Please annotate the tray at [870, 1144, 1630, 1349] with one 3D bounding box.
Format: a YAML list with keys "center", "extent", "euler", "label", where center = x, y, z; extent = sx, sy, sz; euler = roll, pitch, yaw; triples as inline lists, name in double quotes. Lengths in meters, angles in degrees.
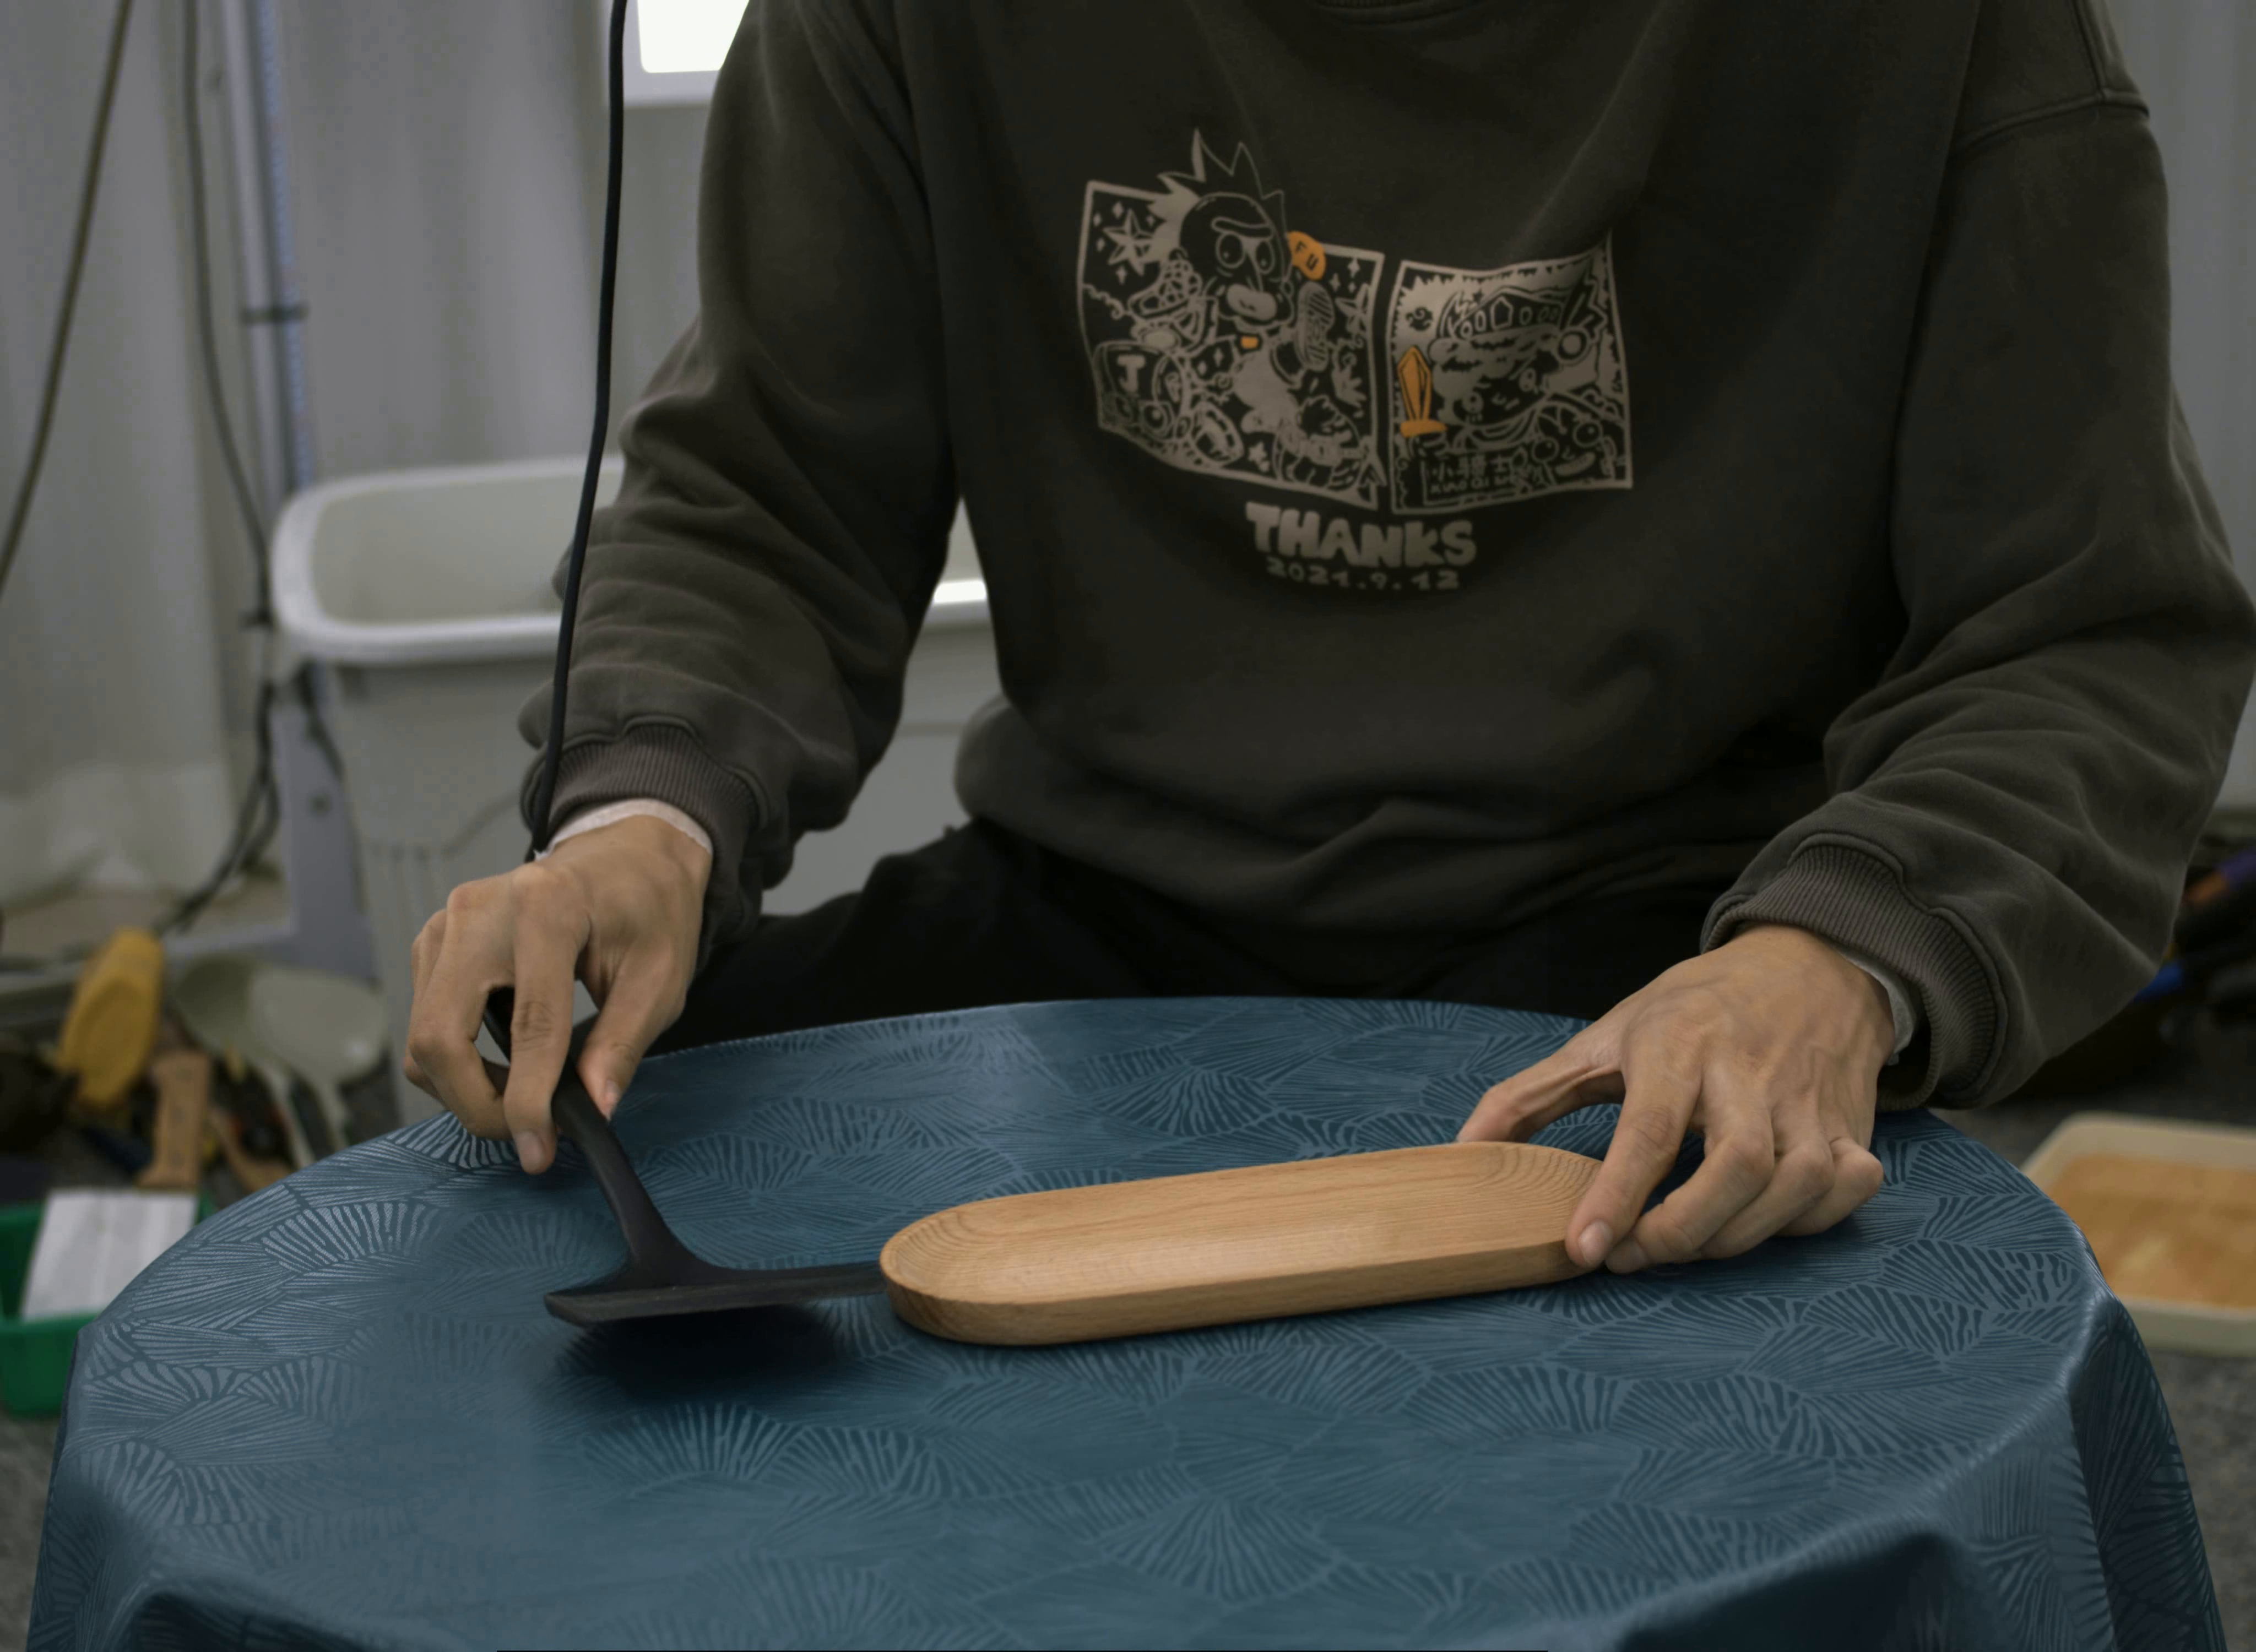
- center: [0.037, 0.126, 1.641]
  extent: [0.230, 0.020, 0.102]
  euler: [-7, 15, -10]
  label: "tray"

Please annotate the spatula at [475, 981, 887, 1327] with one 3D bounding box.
- center: [-0.163, 0.099, 1.707]
  extent: [0.099, 0.040, 0.330]
  euler: [-3, 21, -18]
  label: "spatula"
